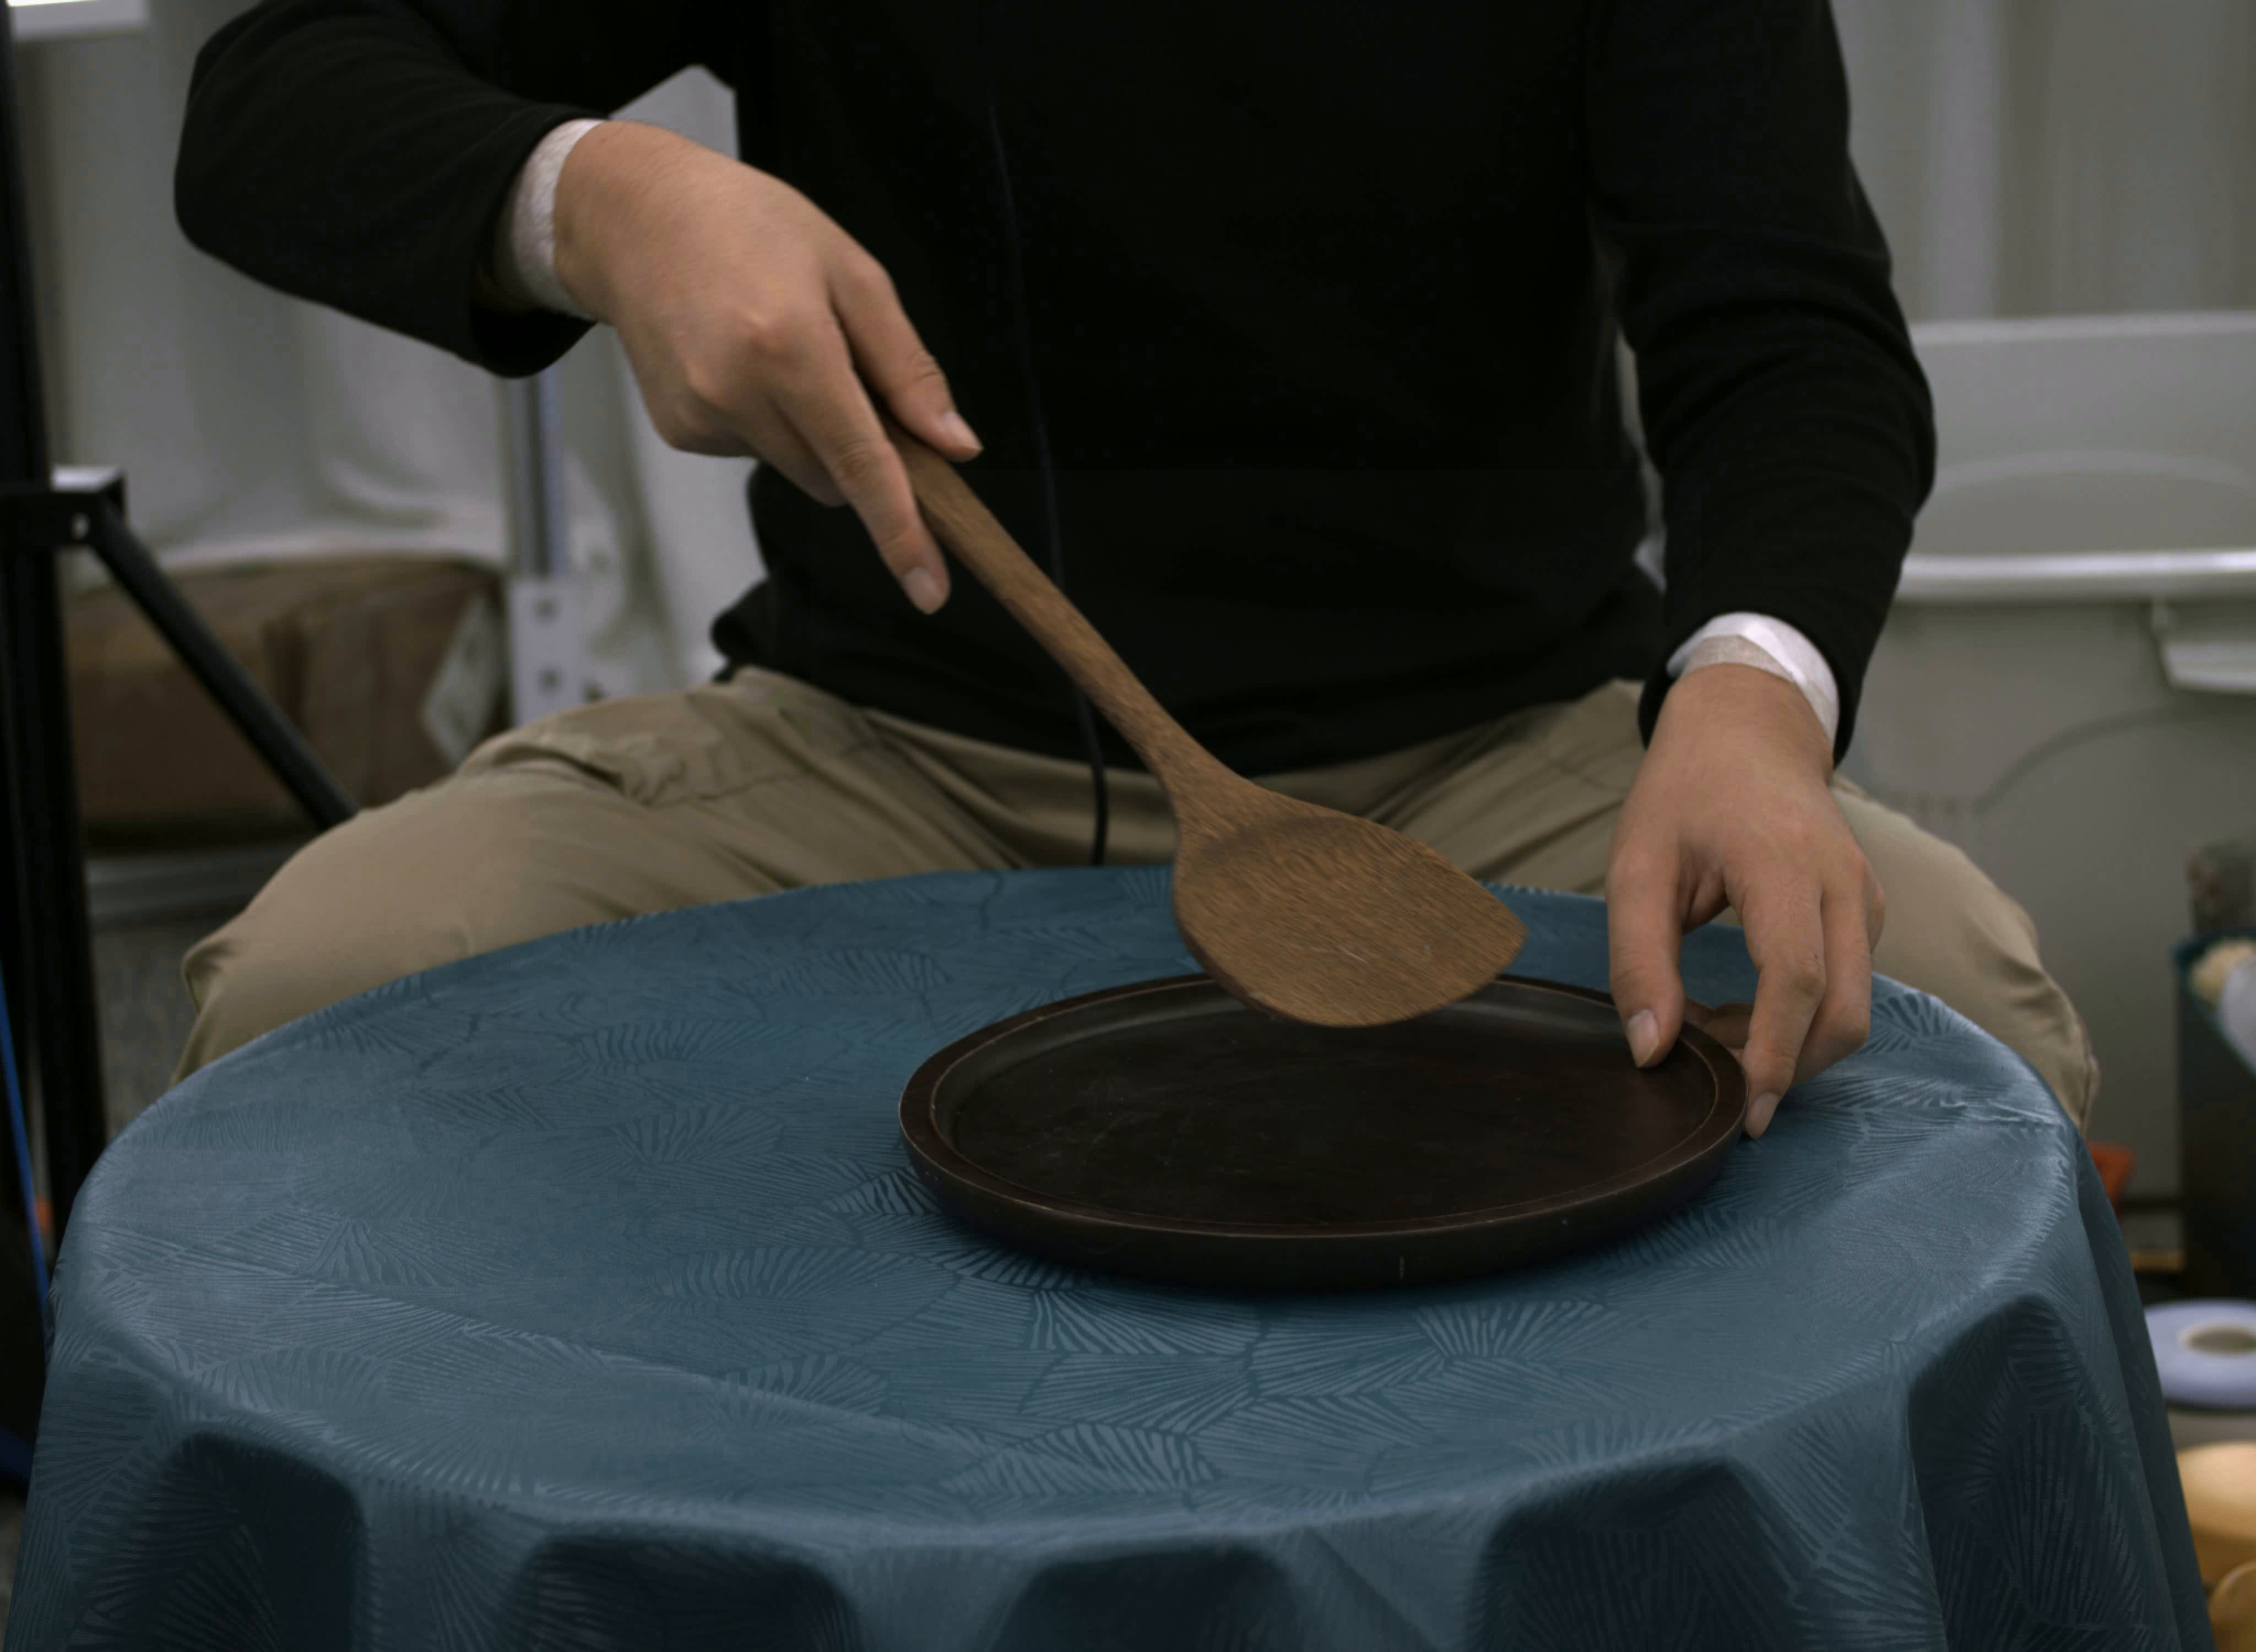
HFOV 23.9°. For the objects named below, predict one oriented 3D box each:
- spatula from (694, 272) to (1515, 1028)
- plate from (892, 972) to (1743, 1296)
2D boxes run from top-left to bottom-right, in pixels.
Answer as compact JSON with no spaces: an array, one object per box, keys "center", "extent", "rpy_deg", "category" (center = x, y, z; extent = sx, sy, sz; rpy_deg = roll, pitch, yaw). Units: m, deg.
[{"center":[-0.026,-0.063,1.615],"extent":[0.094,0.016,0.394],"rpy_deg":[-19,48,-30],"category":"spatula"},{"center":[0.057,0.088,1.574],"extent":[0.253,0.029,0.256],"rpy_deg":[-4,15,0],"category":"plate"}]
